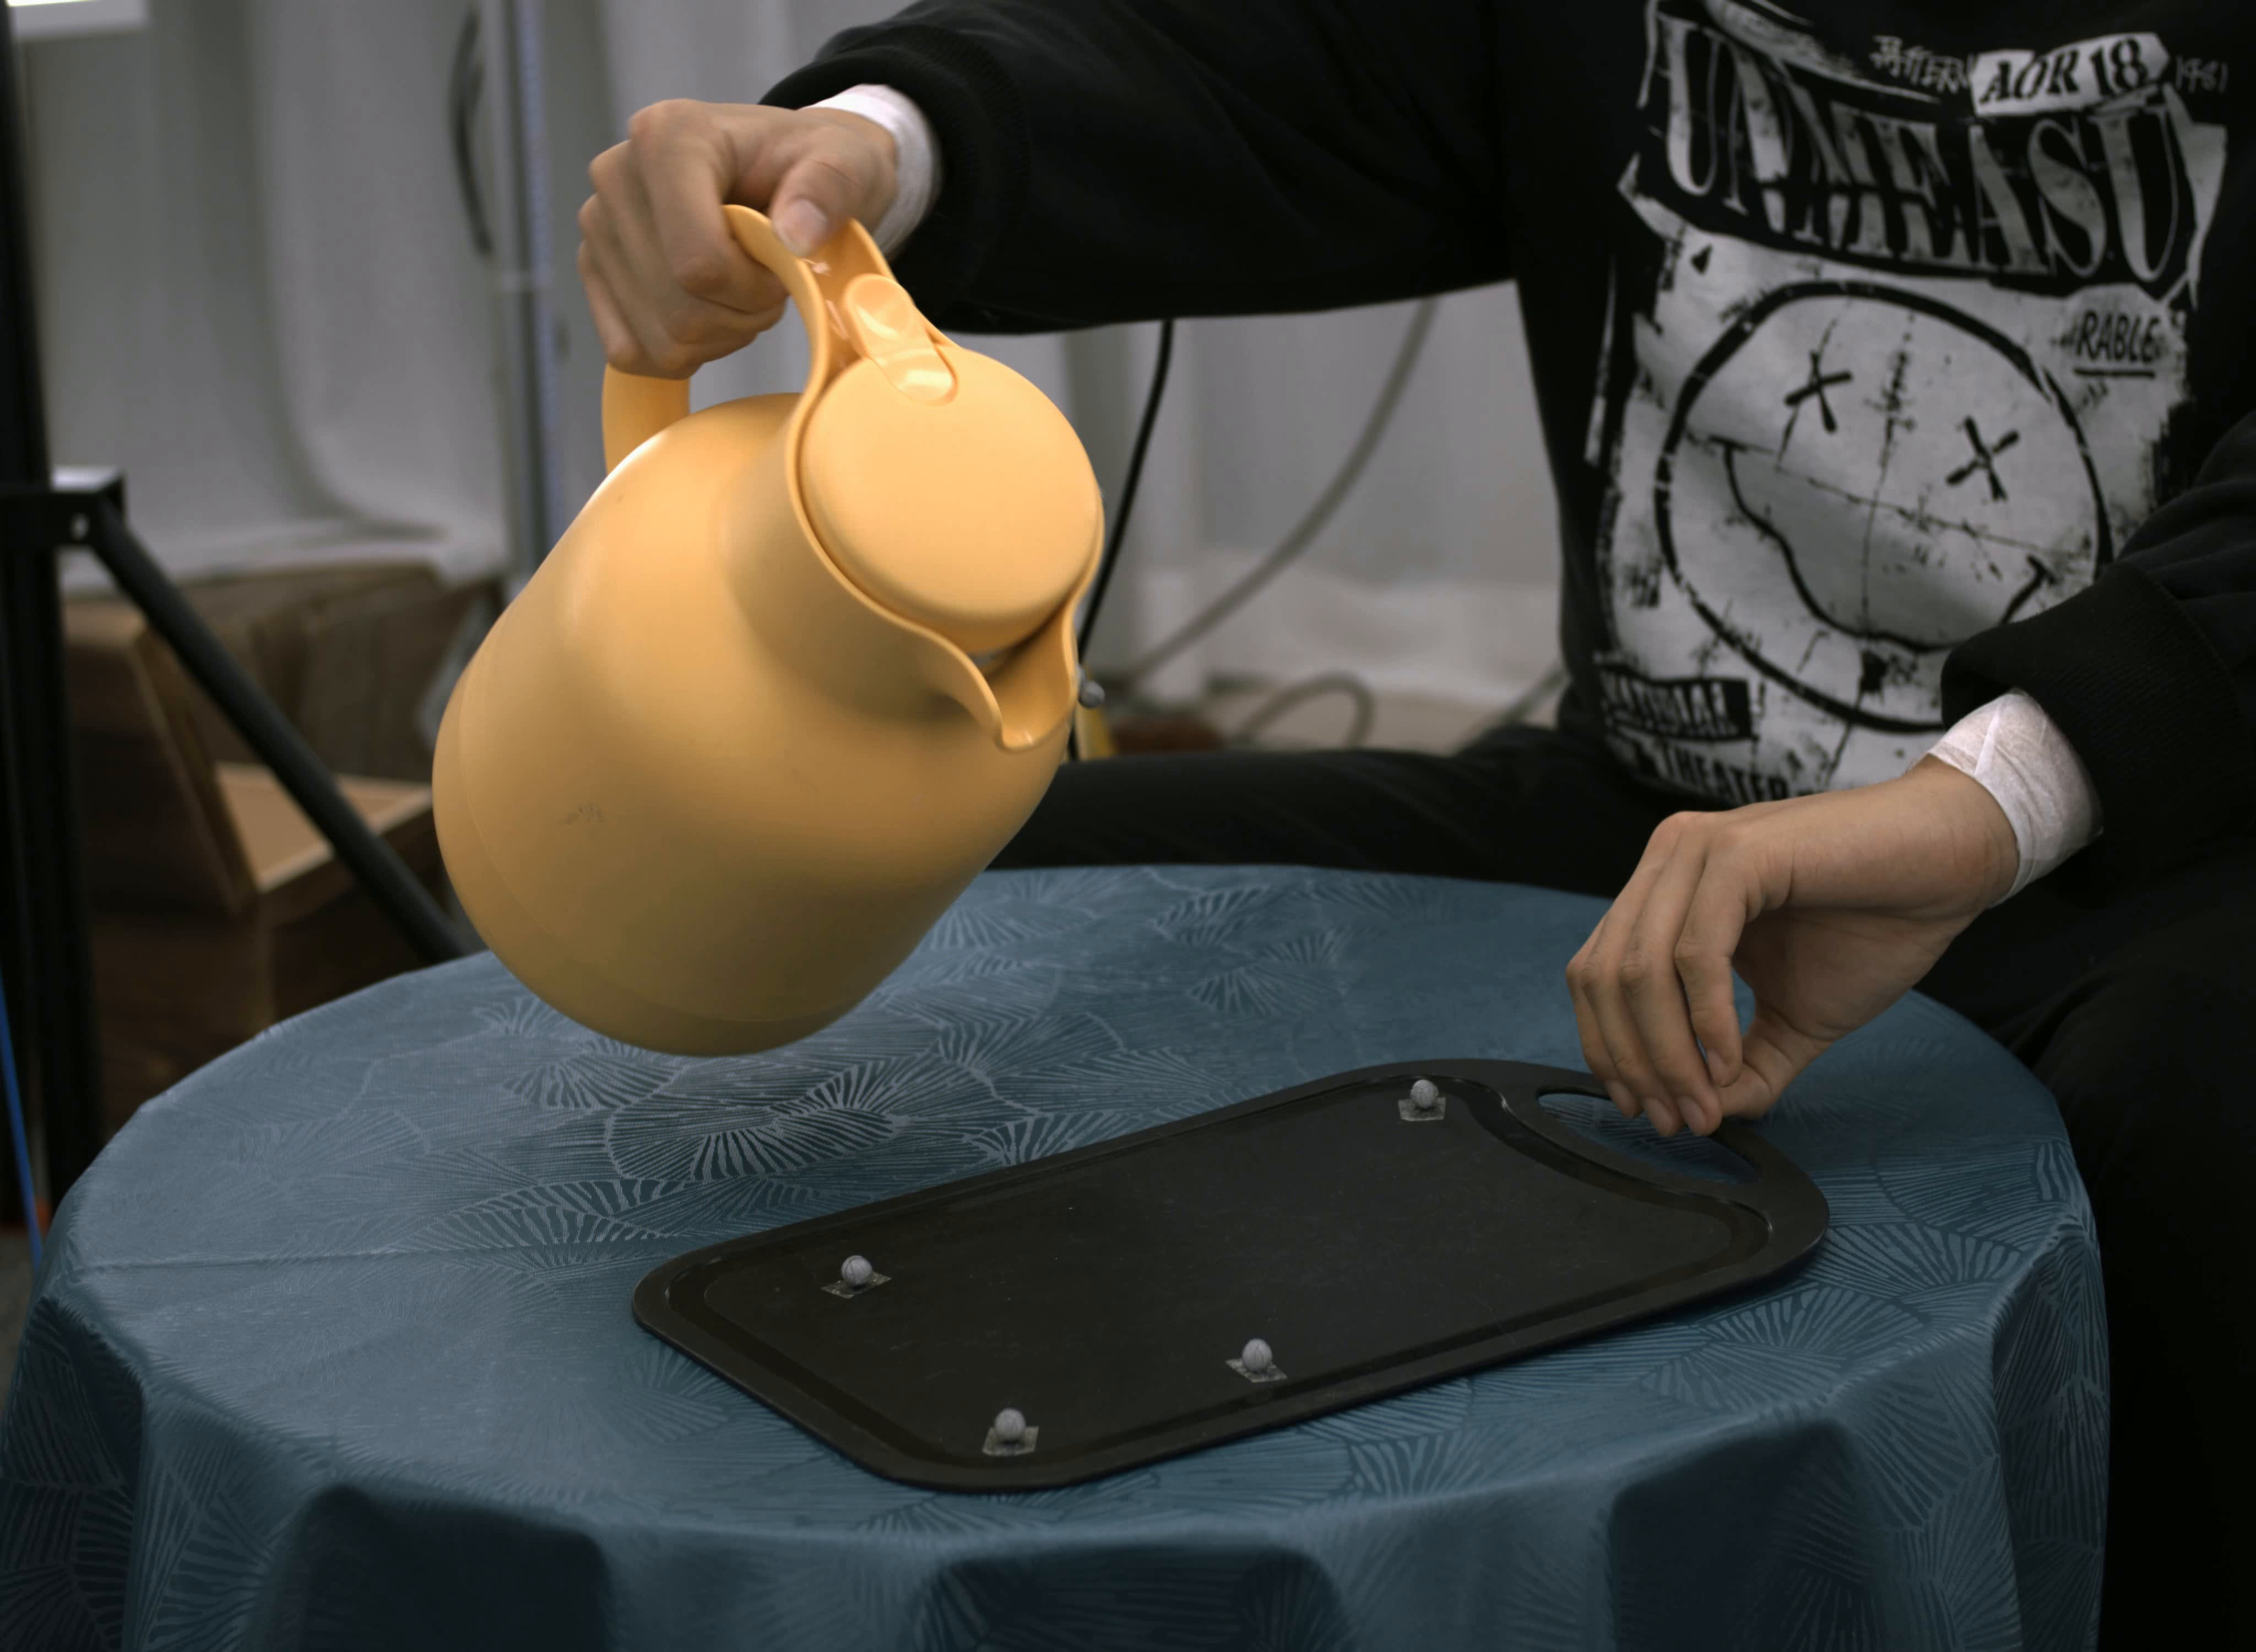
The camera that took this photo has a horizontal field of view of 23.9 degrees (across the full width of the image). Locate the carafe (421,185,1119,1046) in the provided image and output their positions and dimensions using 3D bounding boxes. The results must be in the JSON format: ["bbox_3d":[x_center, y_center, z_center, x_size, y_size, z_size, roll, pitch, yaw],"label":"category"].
[{"bbox_3d":[-0.103,-0.065,1.586,0.159,0.205,0.263,-9,-19,-33],"label":"carafe"}]

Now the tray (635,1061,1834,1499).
[{"bbox_3d":[0.037,0.118,1.487,0.318,0.010,0.216,-13,19,-27],"label":"tray"}]
